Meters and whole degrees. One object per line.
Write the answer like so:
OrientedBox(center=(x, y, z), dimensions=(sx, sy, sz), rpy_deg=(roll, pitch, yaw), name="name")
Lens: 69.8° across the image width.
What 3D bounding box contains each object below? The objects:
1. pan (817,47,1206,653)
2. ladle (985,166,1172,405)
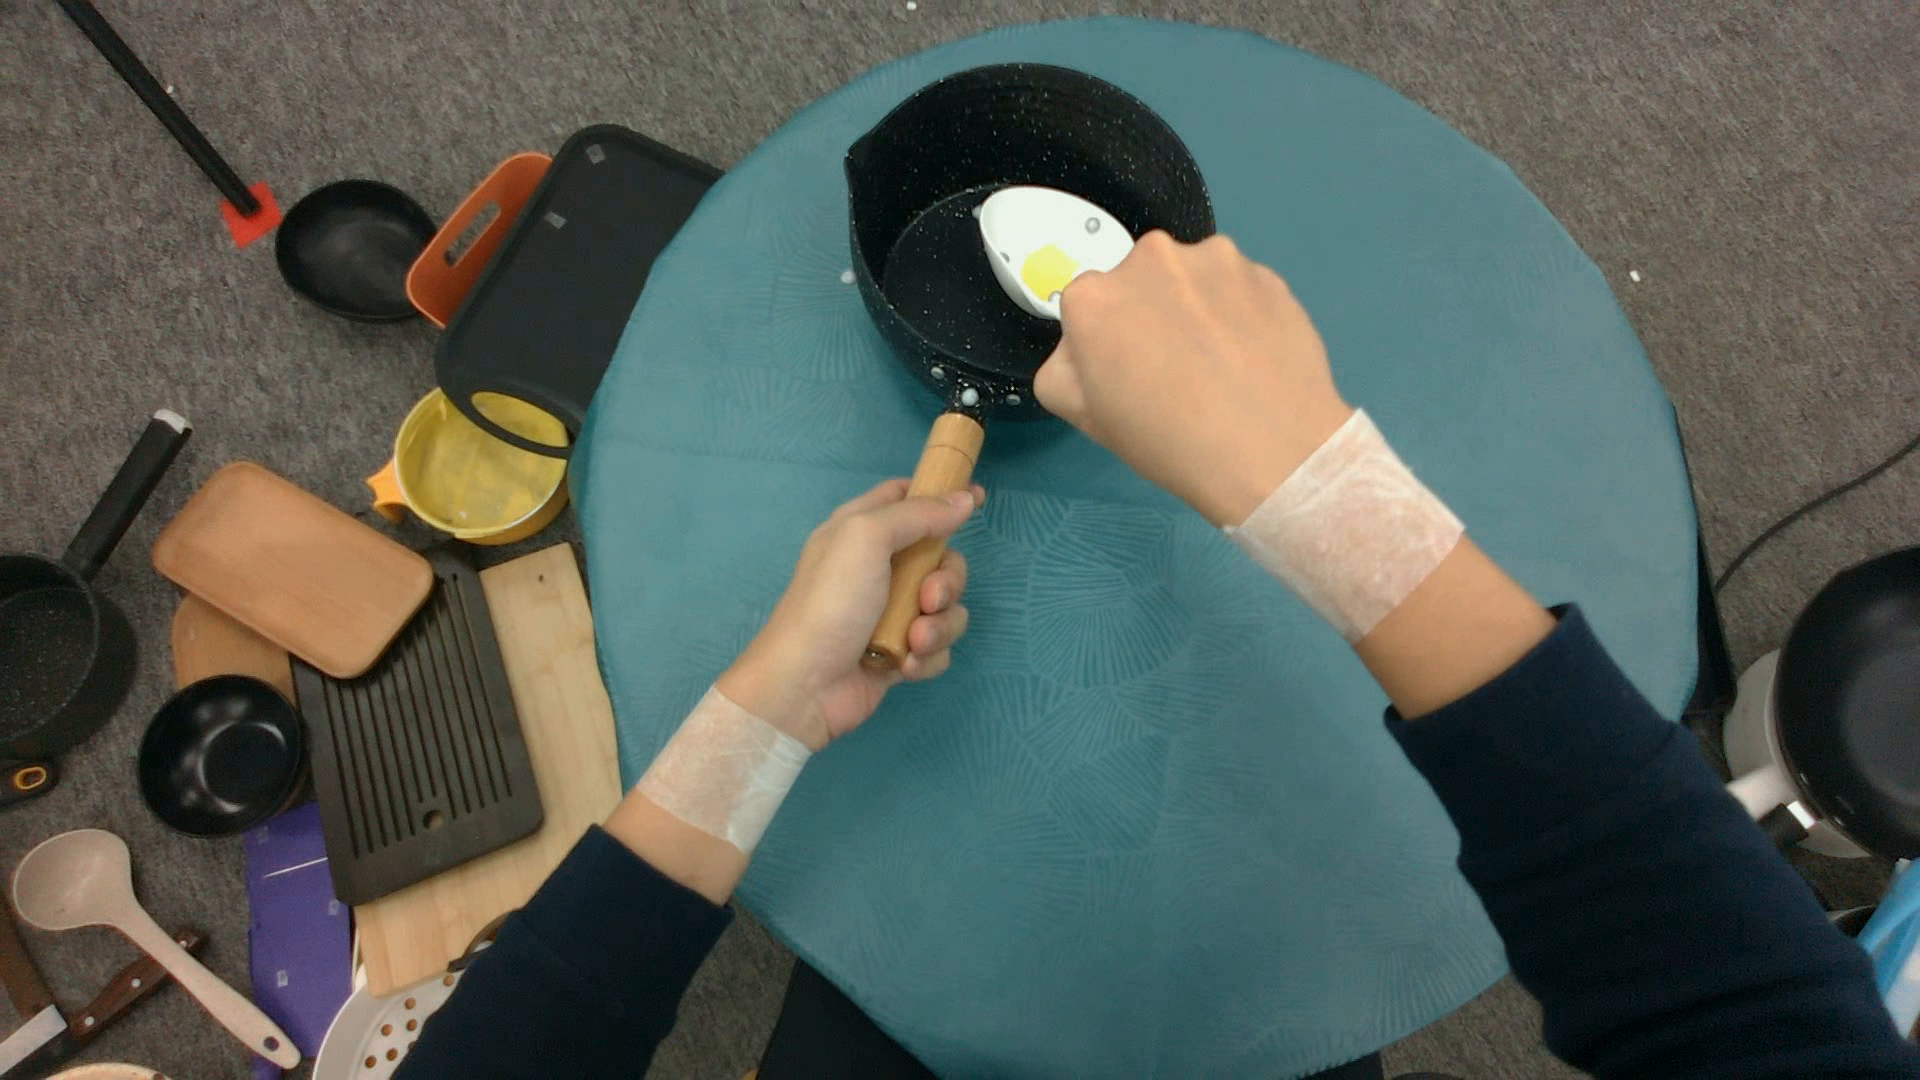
OrientedBox(center=(0.003, -0.089, 0.687), dimensions=(0.207, 0.108, 0.344), rpy_deg=(17, 68, -1), name="pan")
OrientedBox(center=(0.059, -0.126, 0.639), dimensions=(0.090, 0.293, 0.070), rpy_deg=(23, 105, -11), name="ladle")
